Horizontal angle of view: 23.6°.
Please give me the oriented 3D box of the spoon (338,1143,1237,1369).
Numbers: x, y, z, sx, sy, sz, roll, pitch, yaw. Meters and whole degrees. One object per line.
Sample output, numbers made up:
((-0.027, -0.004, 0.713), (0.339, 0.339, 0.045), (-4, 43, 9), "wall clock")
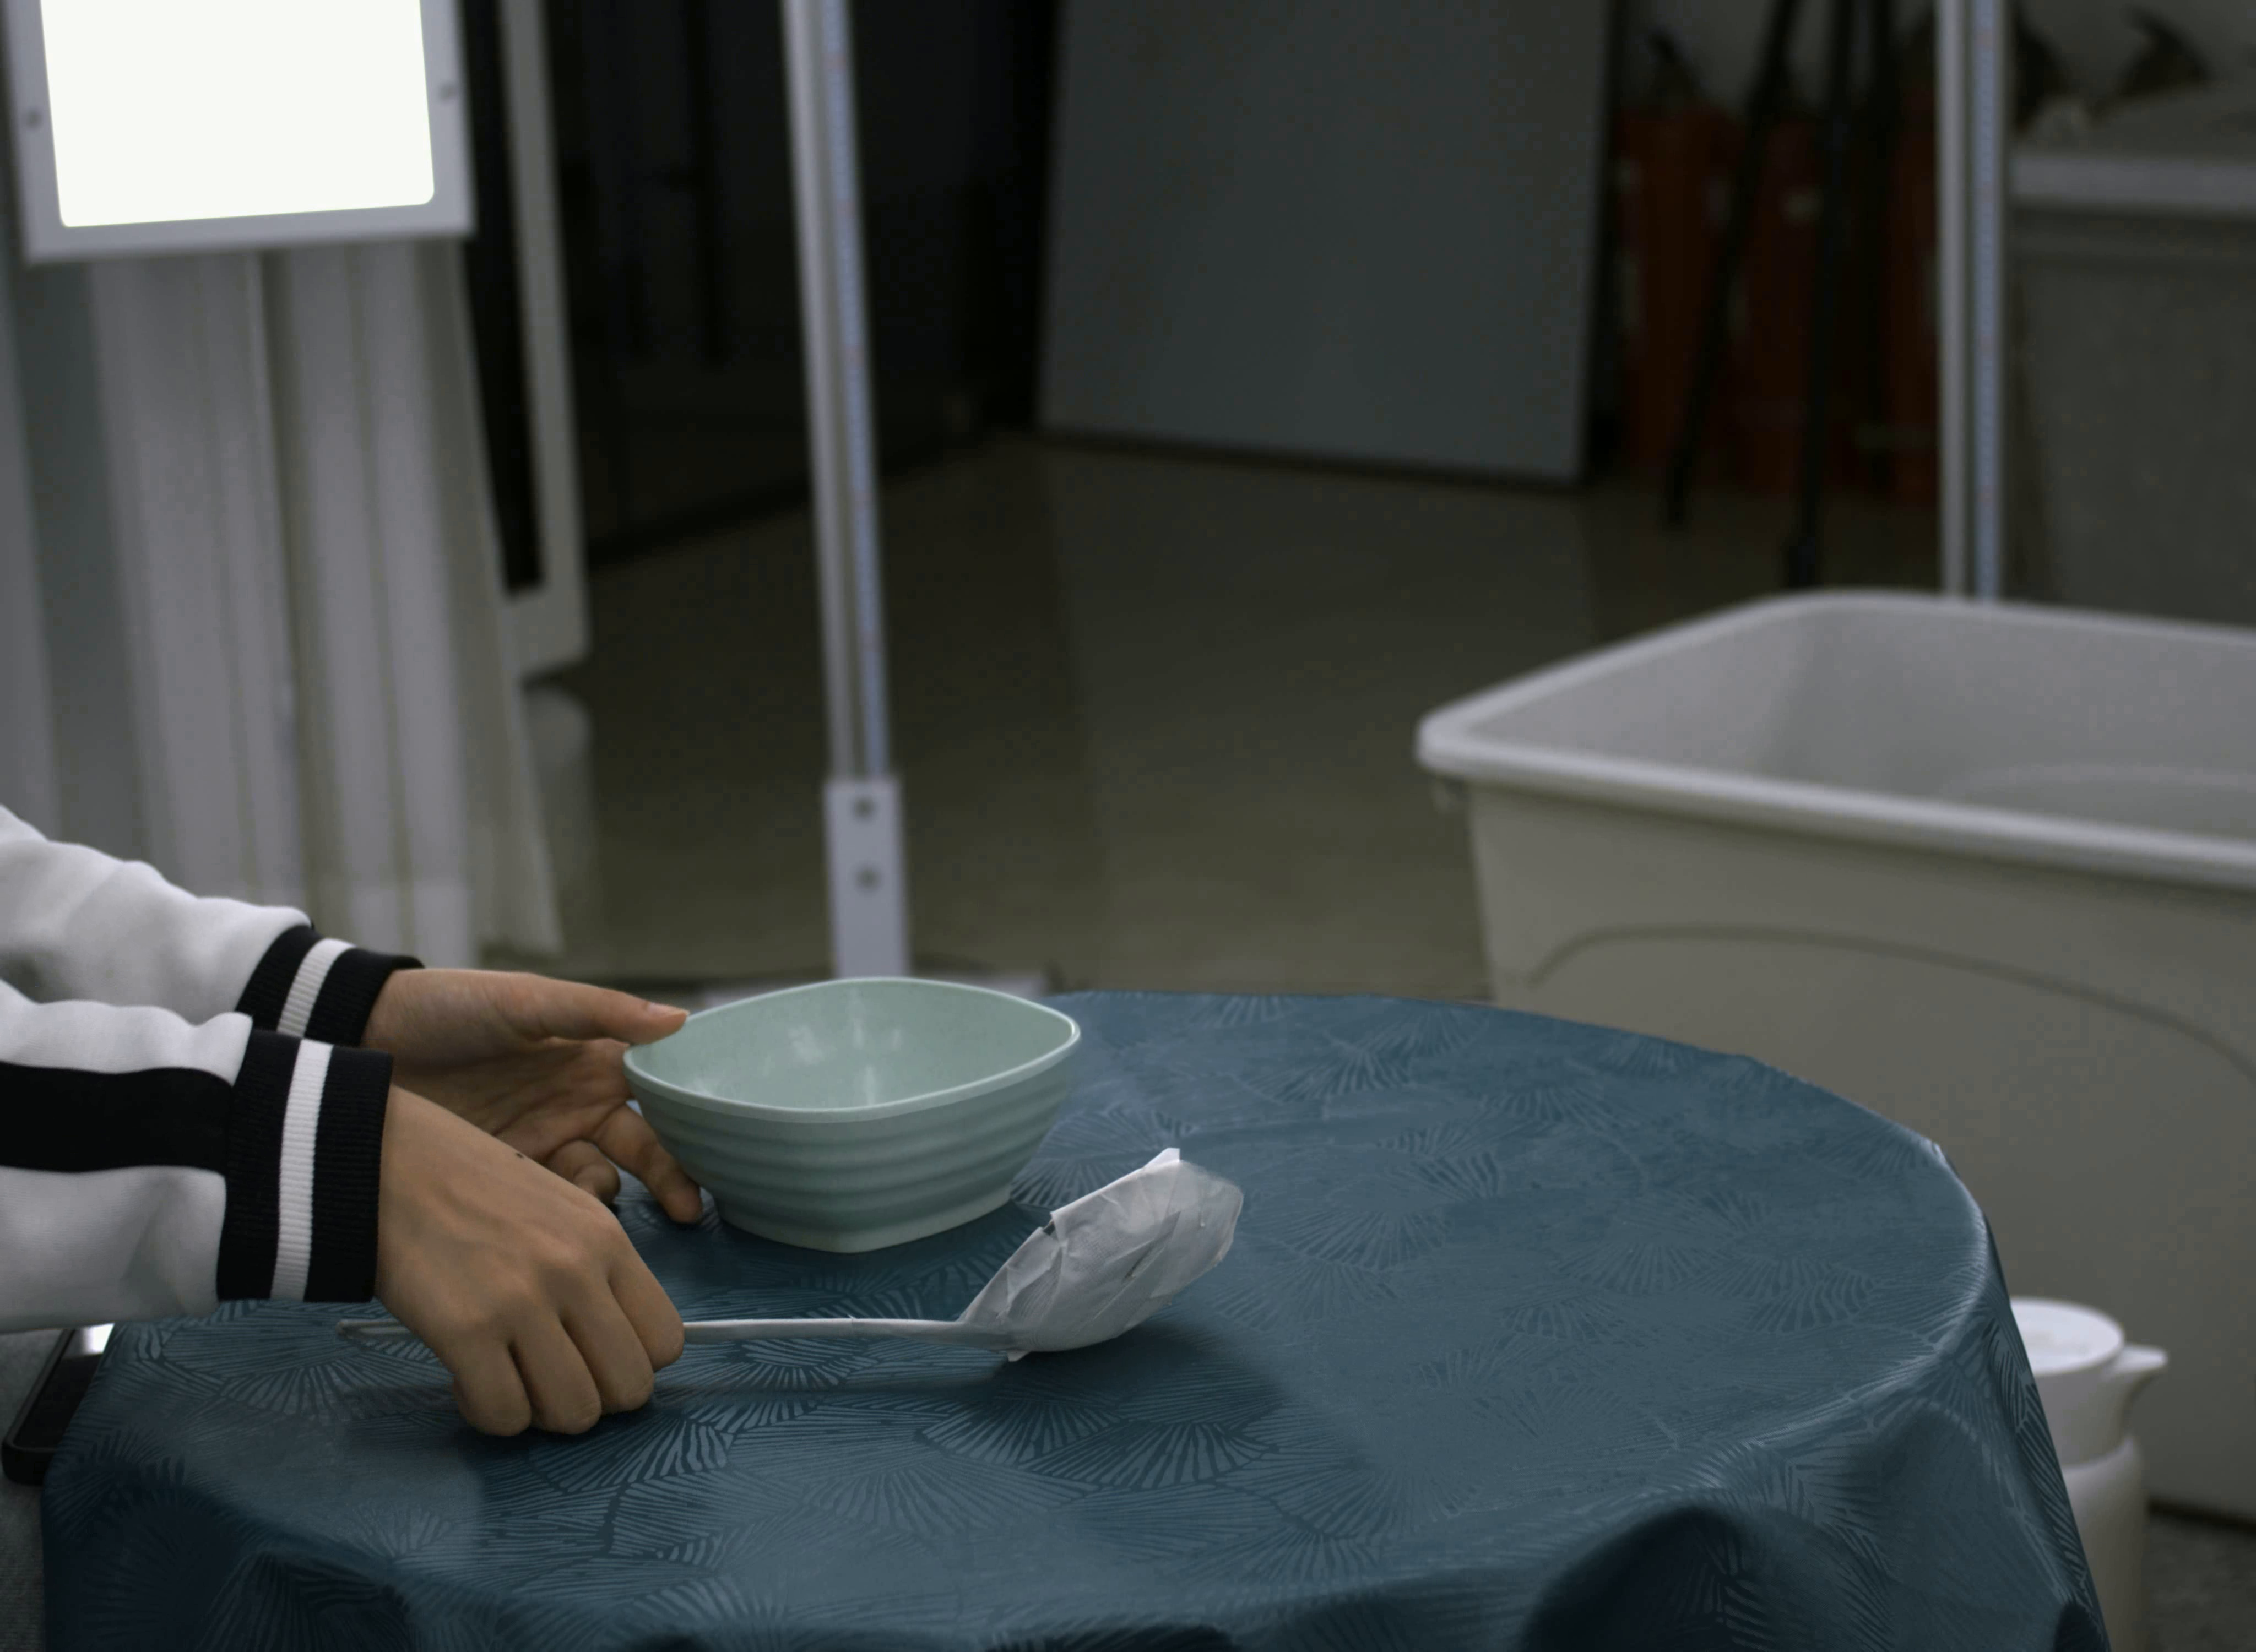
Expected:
((-0.102, 0.133, 1.627), (0.276, 0.060, 0.100), (-2, -29, 13), "spoon")

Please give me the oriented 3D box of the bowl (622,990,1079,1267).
((-0.089, 0.101, 1.767), (0.149, 0.059, 0.152), (-4, 13, 0), "bowl")
